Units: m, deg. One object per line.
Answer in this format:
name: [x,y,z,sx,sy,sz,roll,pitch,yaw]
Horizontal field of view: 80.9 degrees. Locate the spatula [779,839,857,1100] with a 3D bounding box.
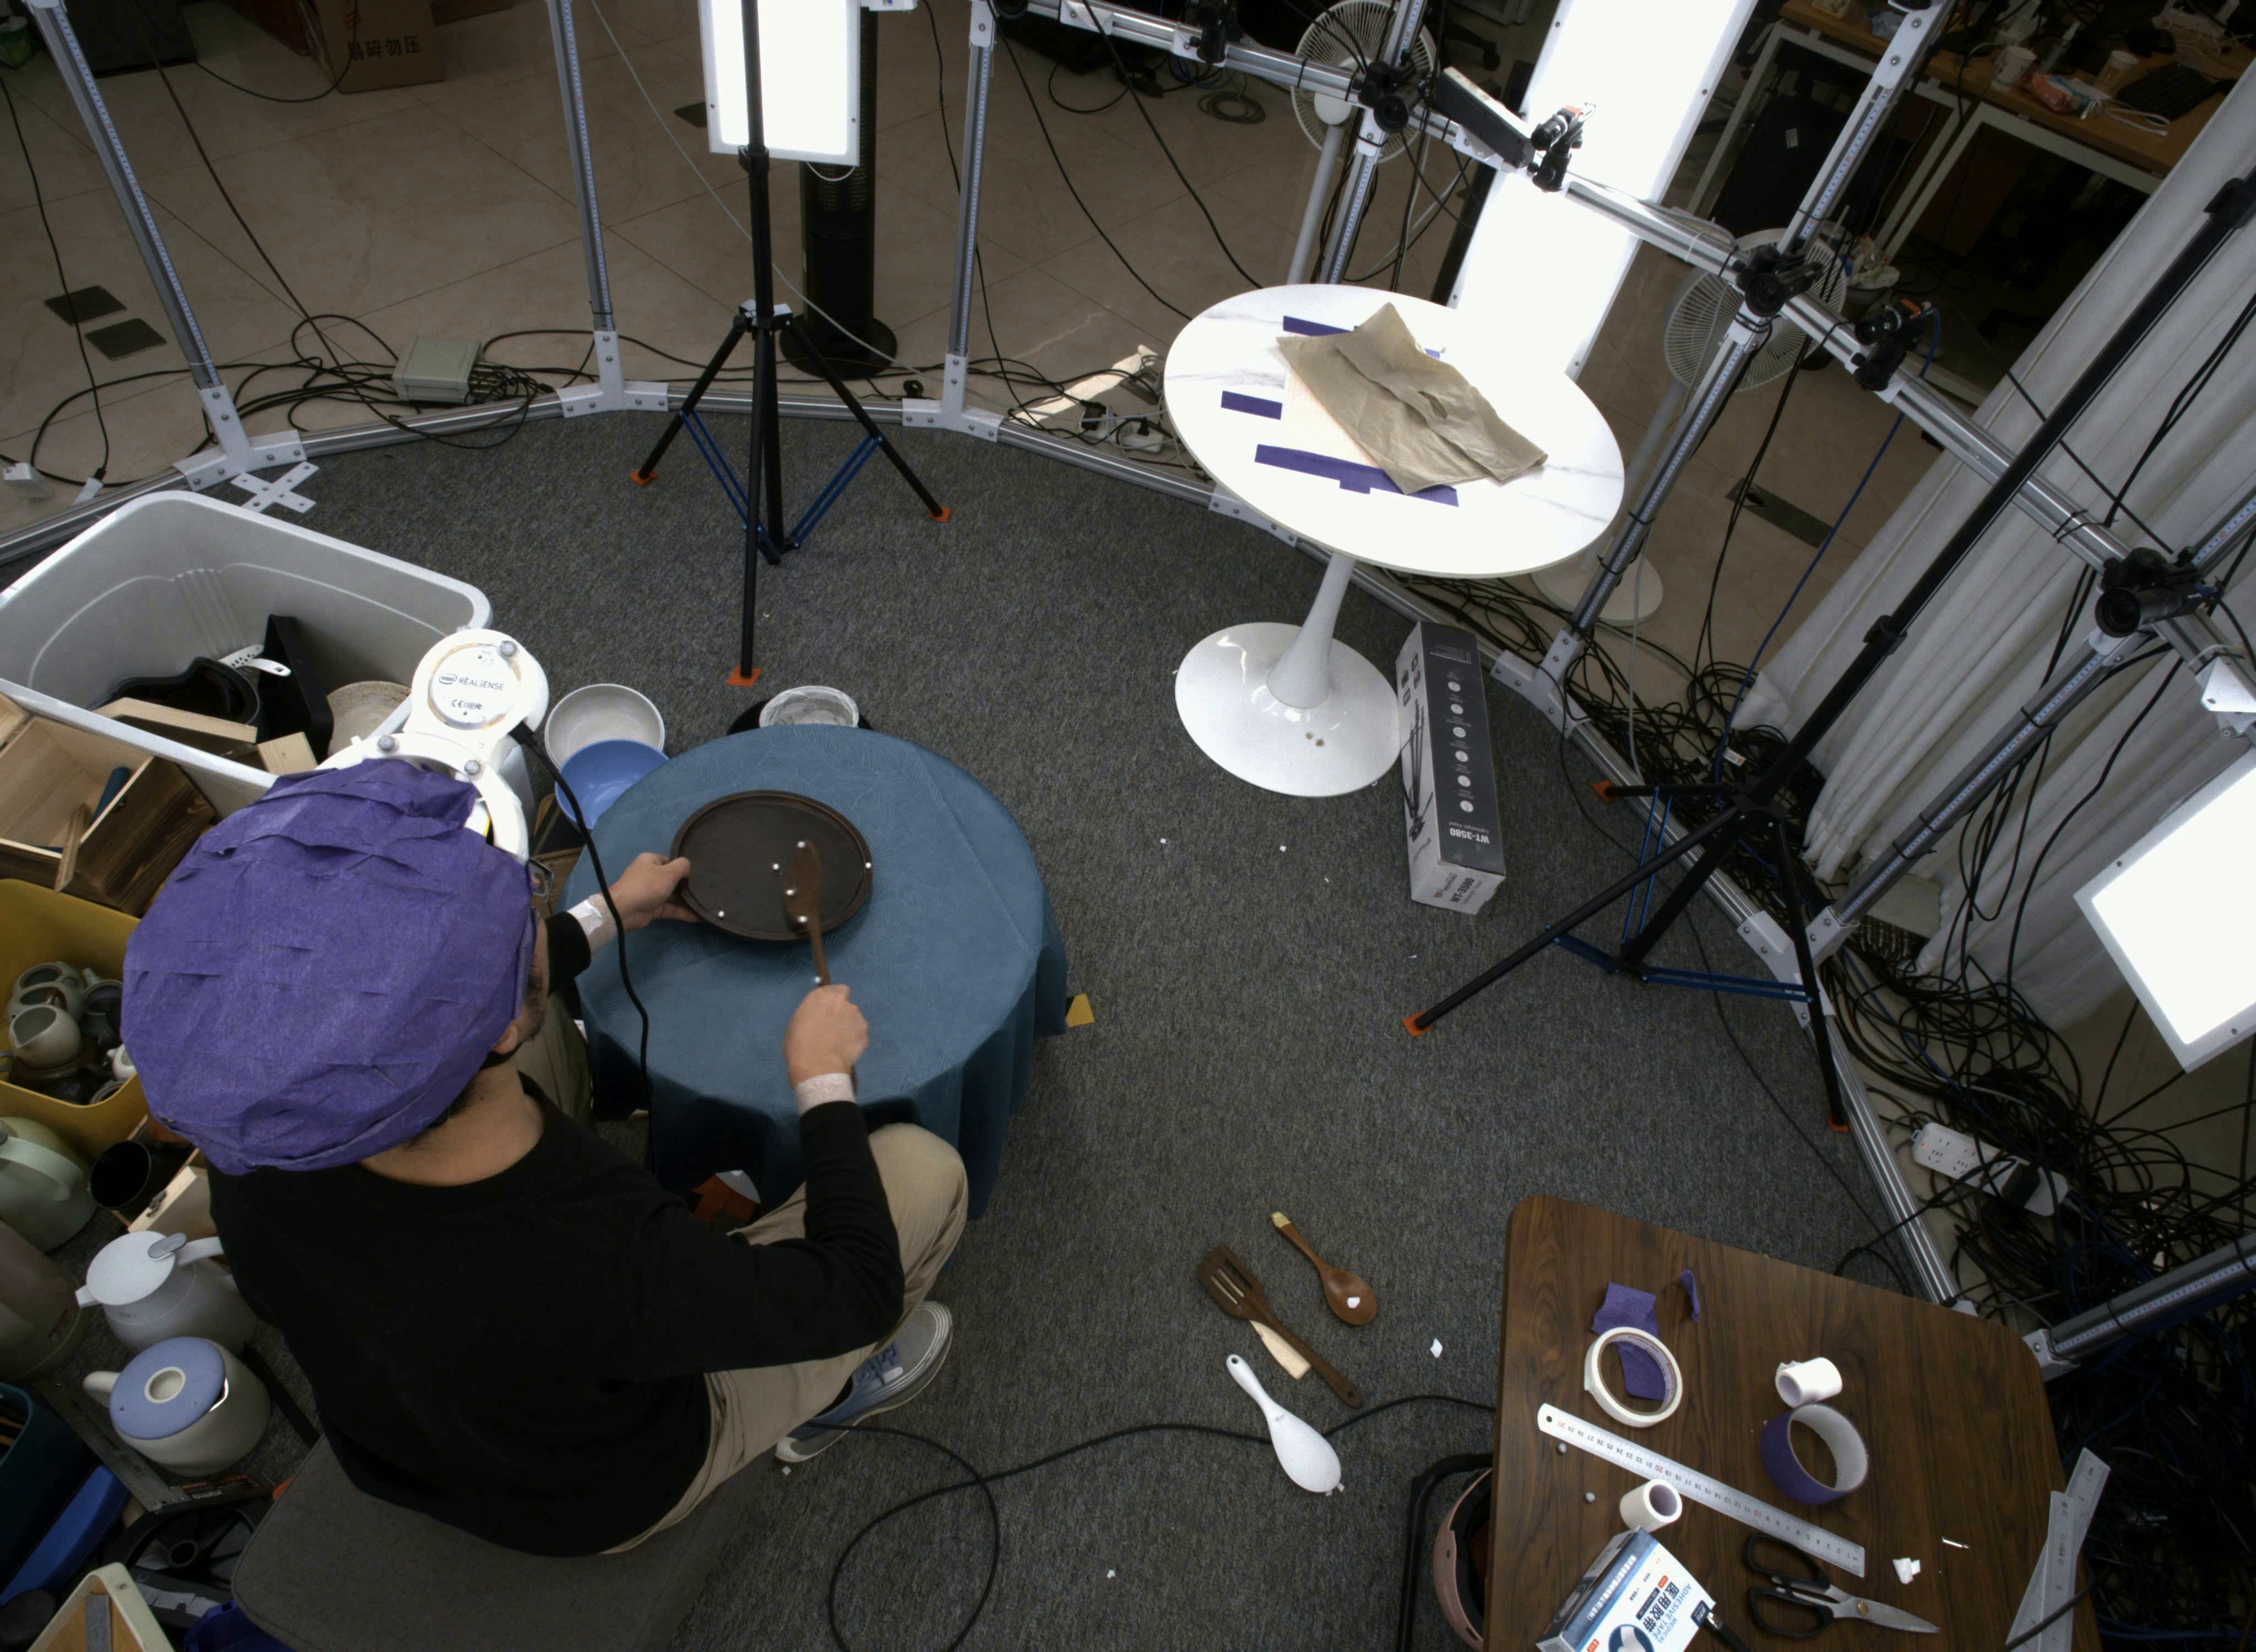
spatula: [-0.352,0.159,1.474,0.016,0.097,0.373,11,33,-33]

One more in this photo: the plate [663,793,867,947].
plate: [-0.457,0.052,1.636,0.255,0.029,0.249,14,43,-12]
